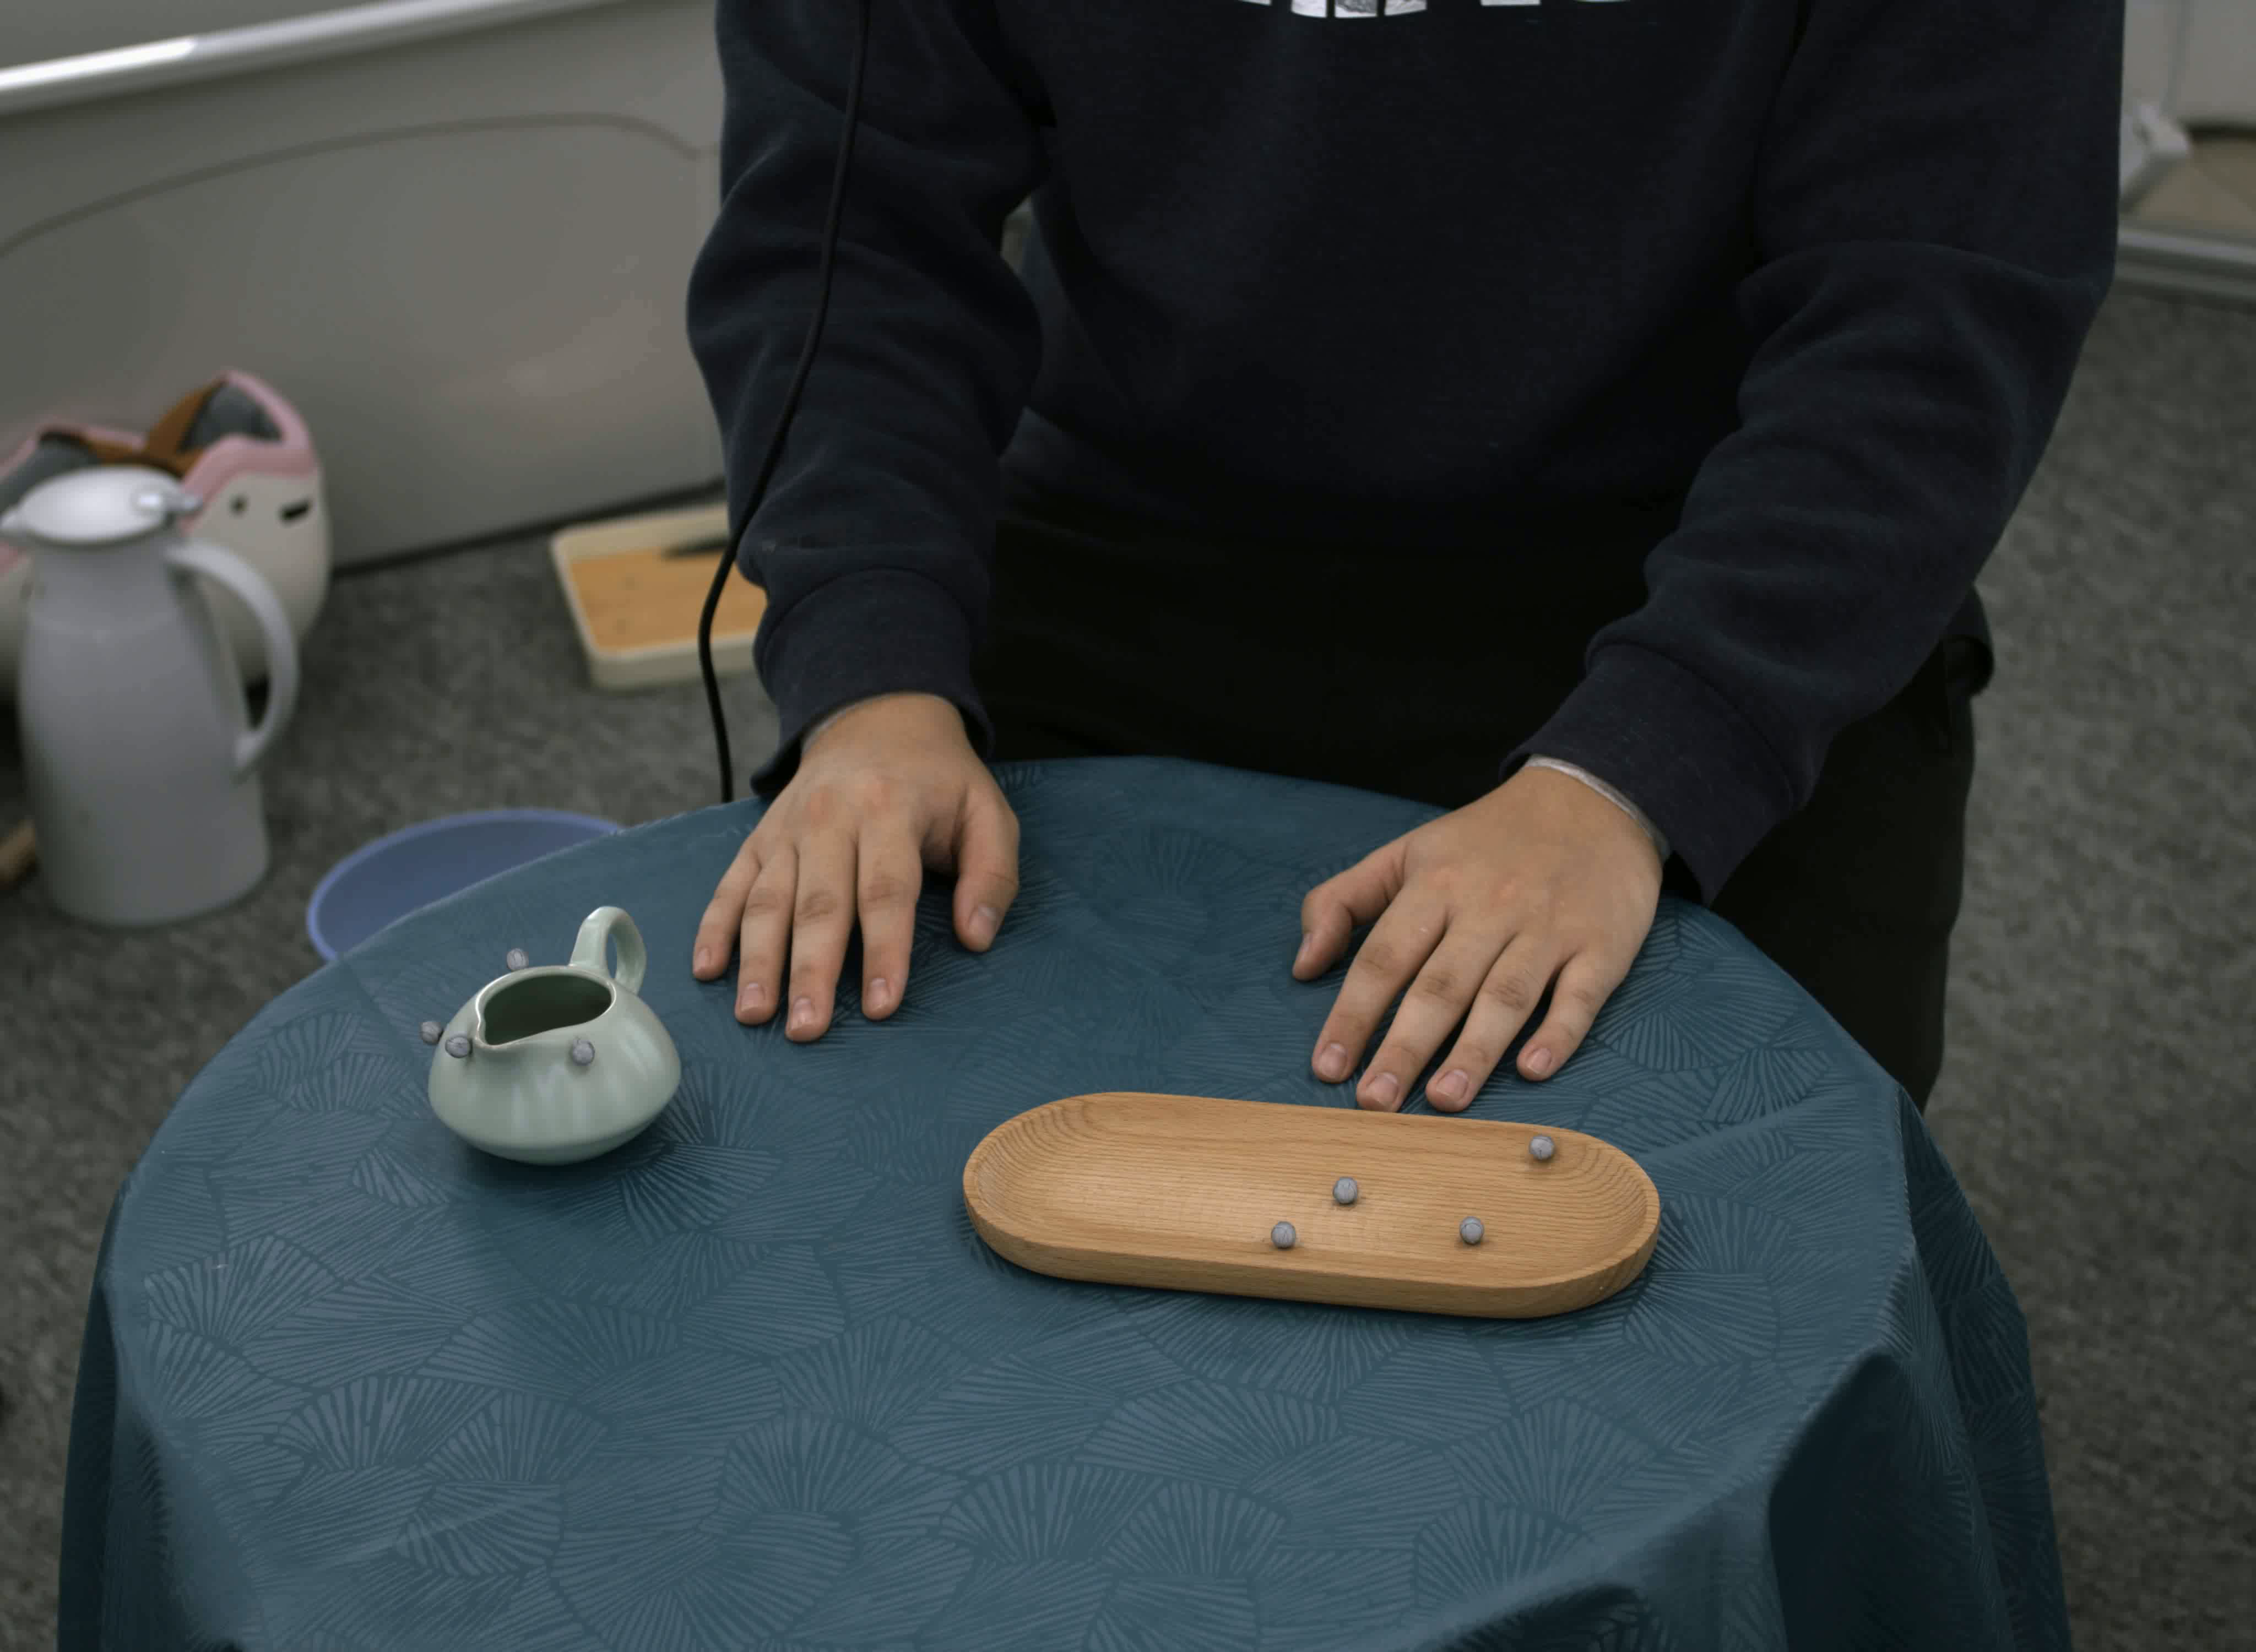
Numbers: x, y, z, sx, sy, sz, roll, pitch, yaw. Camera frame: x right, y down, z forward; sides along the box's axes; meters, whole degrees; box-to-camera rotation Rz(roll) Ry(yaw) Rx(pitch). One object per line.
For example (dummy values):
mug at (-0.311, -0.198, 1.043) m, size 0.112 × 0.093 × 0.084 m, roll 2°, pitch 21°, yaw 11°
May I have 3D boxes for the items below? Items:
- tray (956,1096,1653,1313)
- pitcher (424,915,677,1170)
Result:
tray at (0.057, 0.124, 1.838) m, size 0.229 × 0.020 × 0.103 m, roll 2°, pitch 26°, yaw 13°
pitcher at (-0.192, 0.075, 1.912) m, size 0.085 × 0.060 × 0.110 m, roll 8°, pitch 27°, yaw 17°
